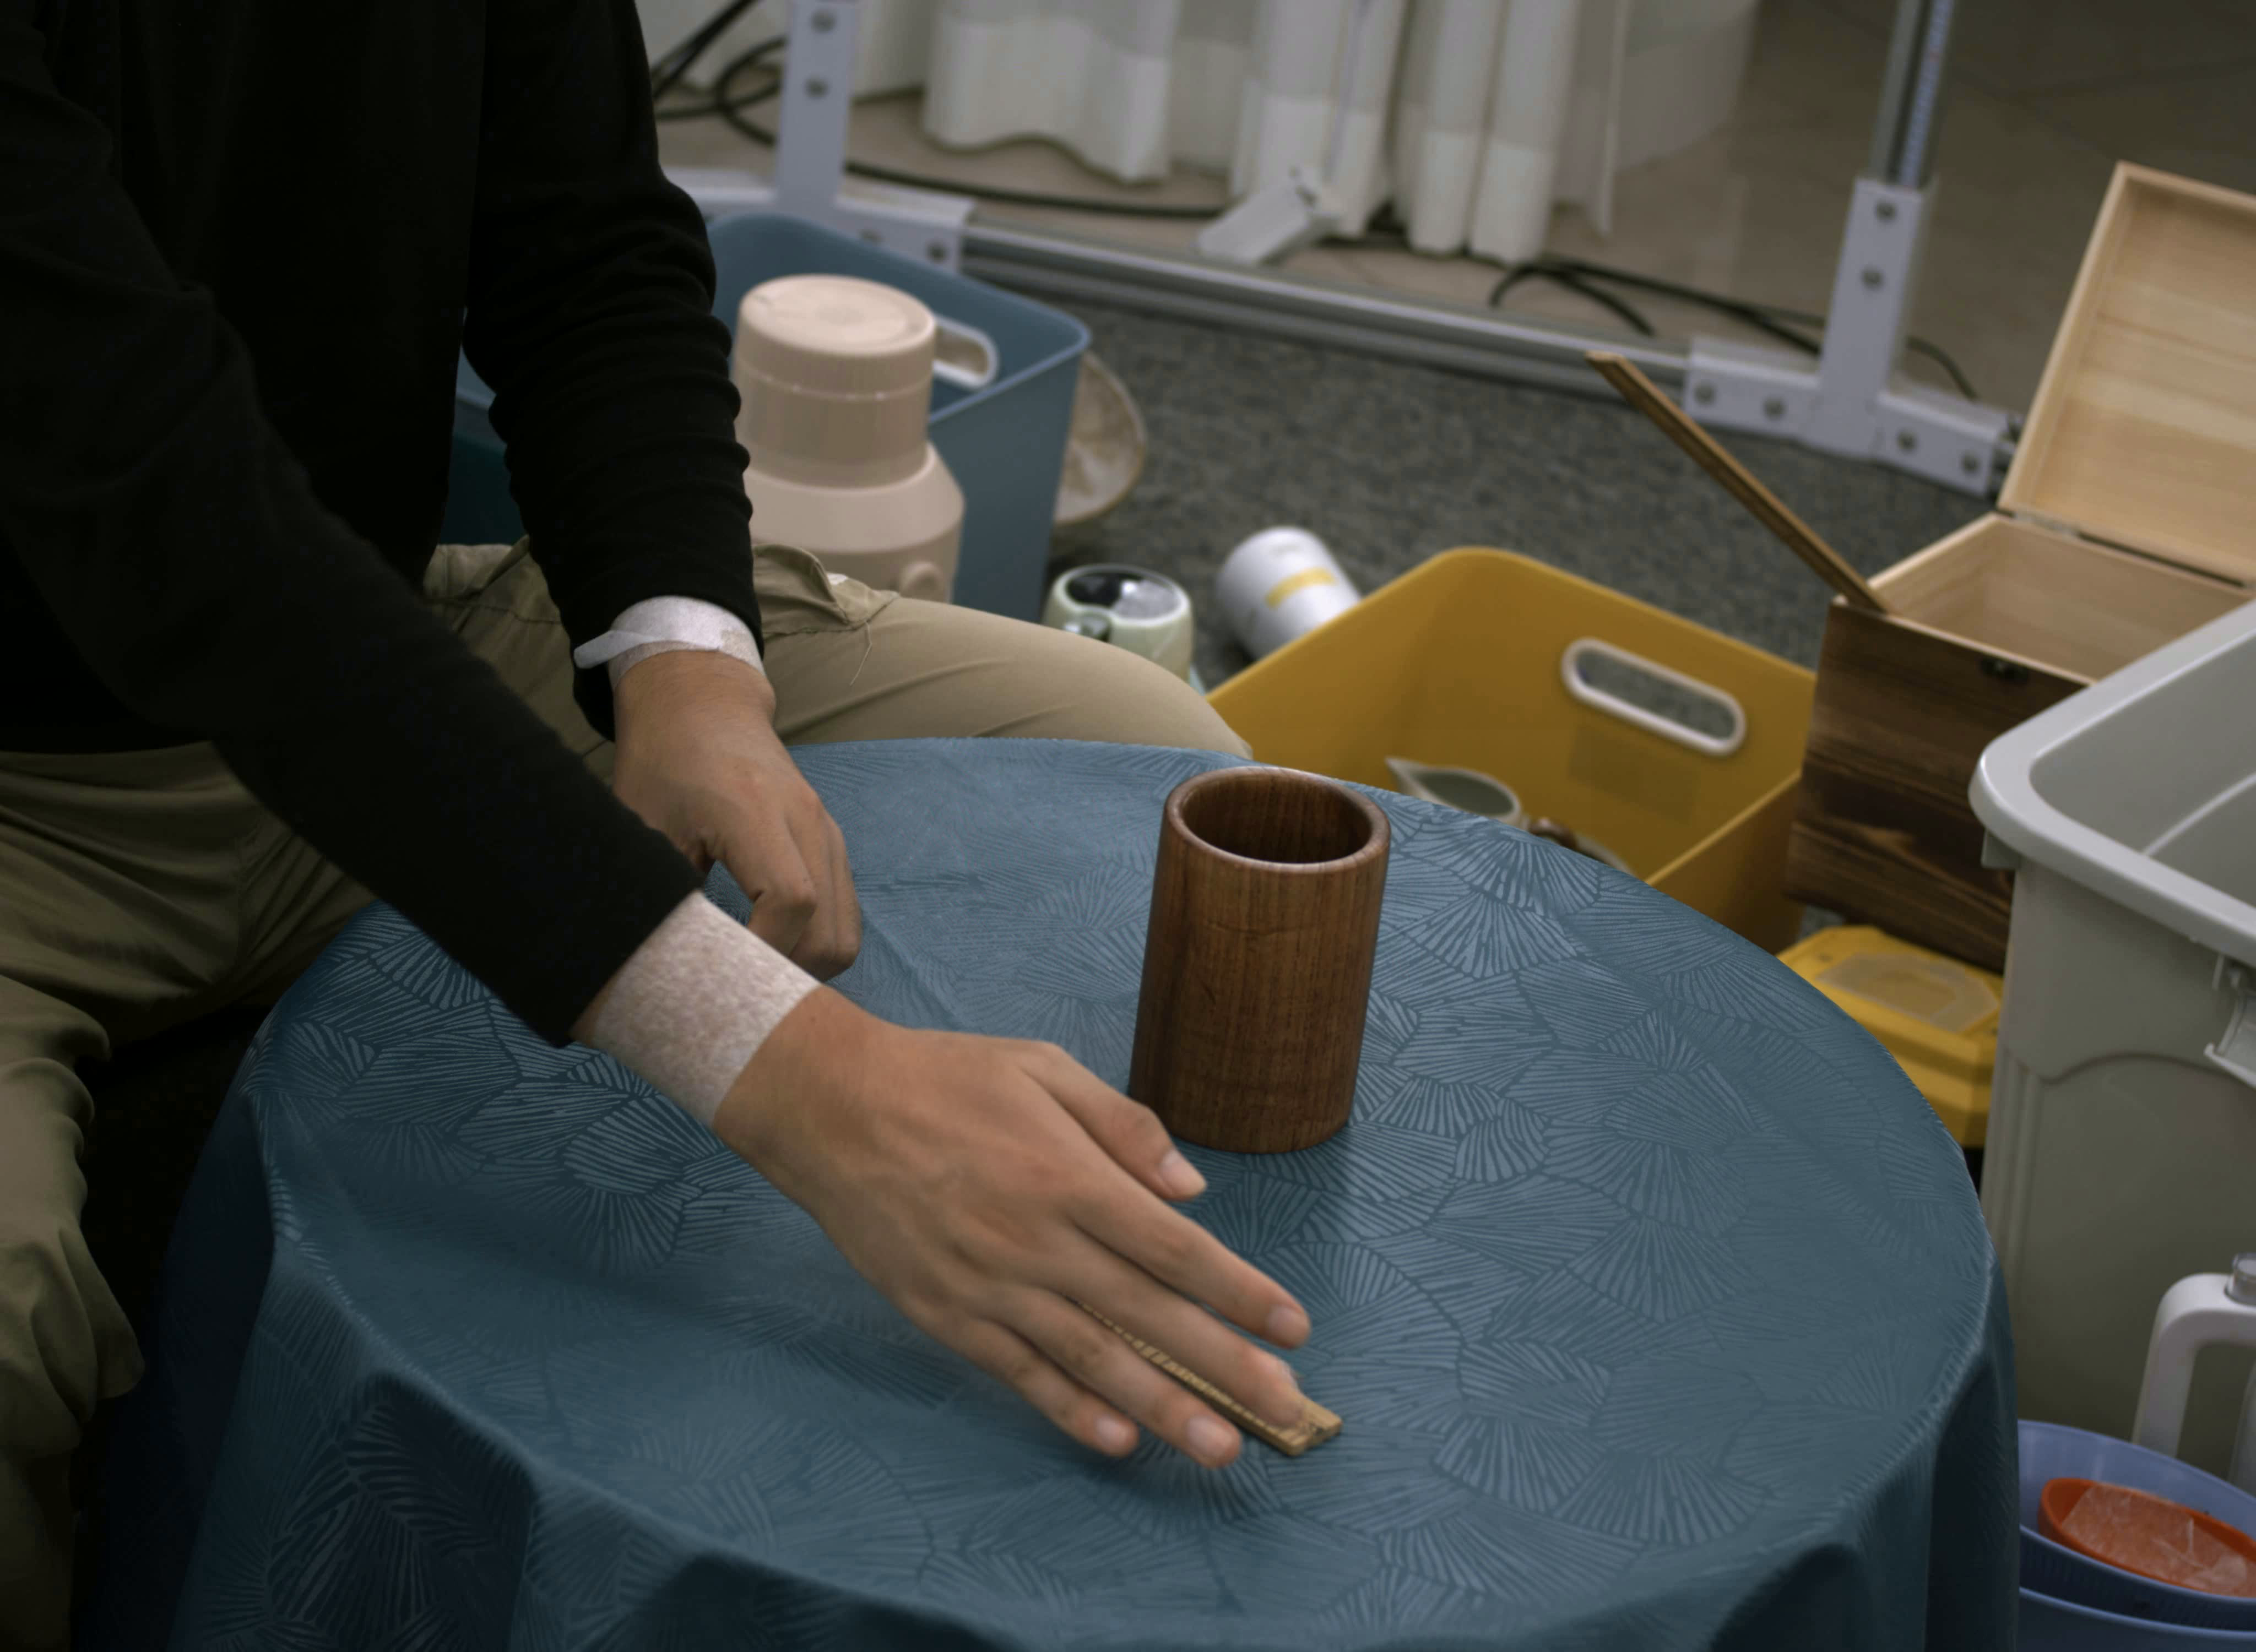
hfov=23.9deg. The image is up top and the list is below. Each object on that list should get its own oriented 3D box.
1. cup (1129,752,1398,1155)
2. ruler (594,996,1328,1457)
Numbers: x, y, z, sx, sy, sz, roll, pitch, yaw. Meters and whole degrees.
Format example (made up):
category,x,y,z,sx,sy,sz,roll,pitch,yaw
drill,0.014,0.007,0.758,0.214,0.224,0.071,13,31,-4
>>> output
category,x,y,z,sx,sy,sz,roll,pitch,yaw
cup,0.046,0.044,1.840,0.087,0.118,0.088,6,26,-3
ruler,-0.062,0.127,1.772,0.334,0.022,0.027,29,27,37
